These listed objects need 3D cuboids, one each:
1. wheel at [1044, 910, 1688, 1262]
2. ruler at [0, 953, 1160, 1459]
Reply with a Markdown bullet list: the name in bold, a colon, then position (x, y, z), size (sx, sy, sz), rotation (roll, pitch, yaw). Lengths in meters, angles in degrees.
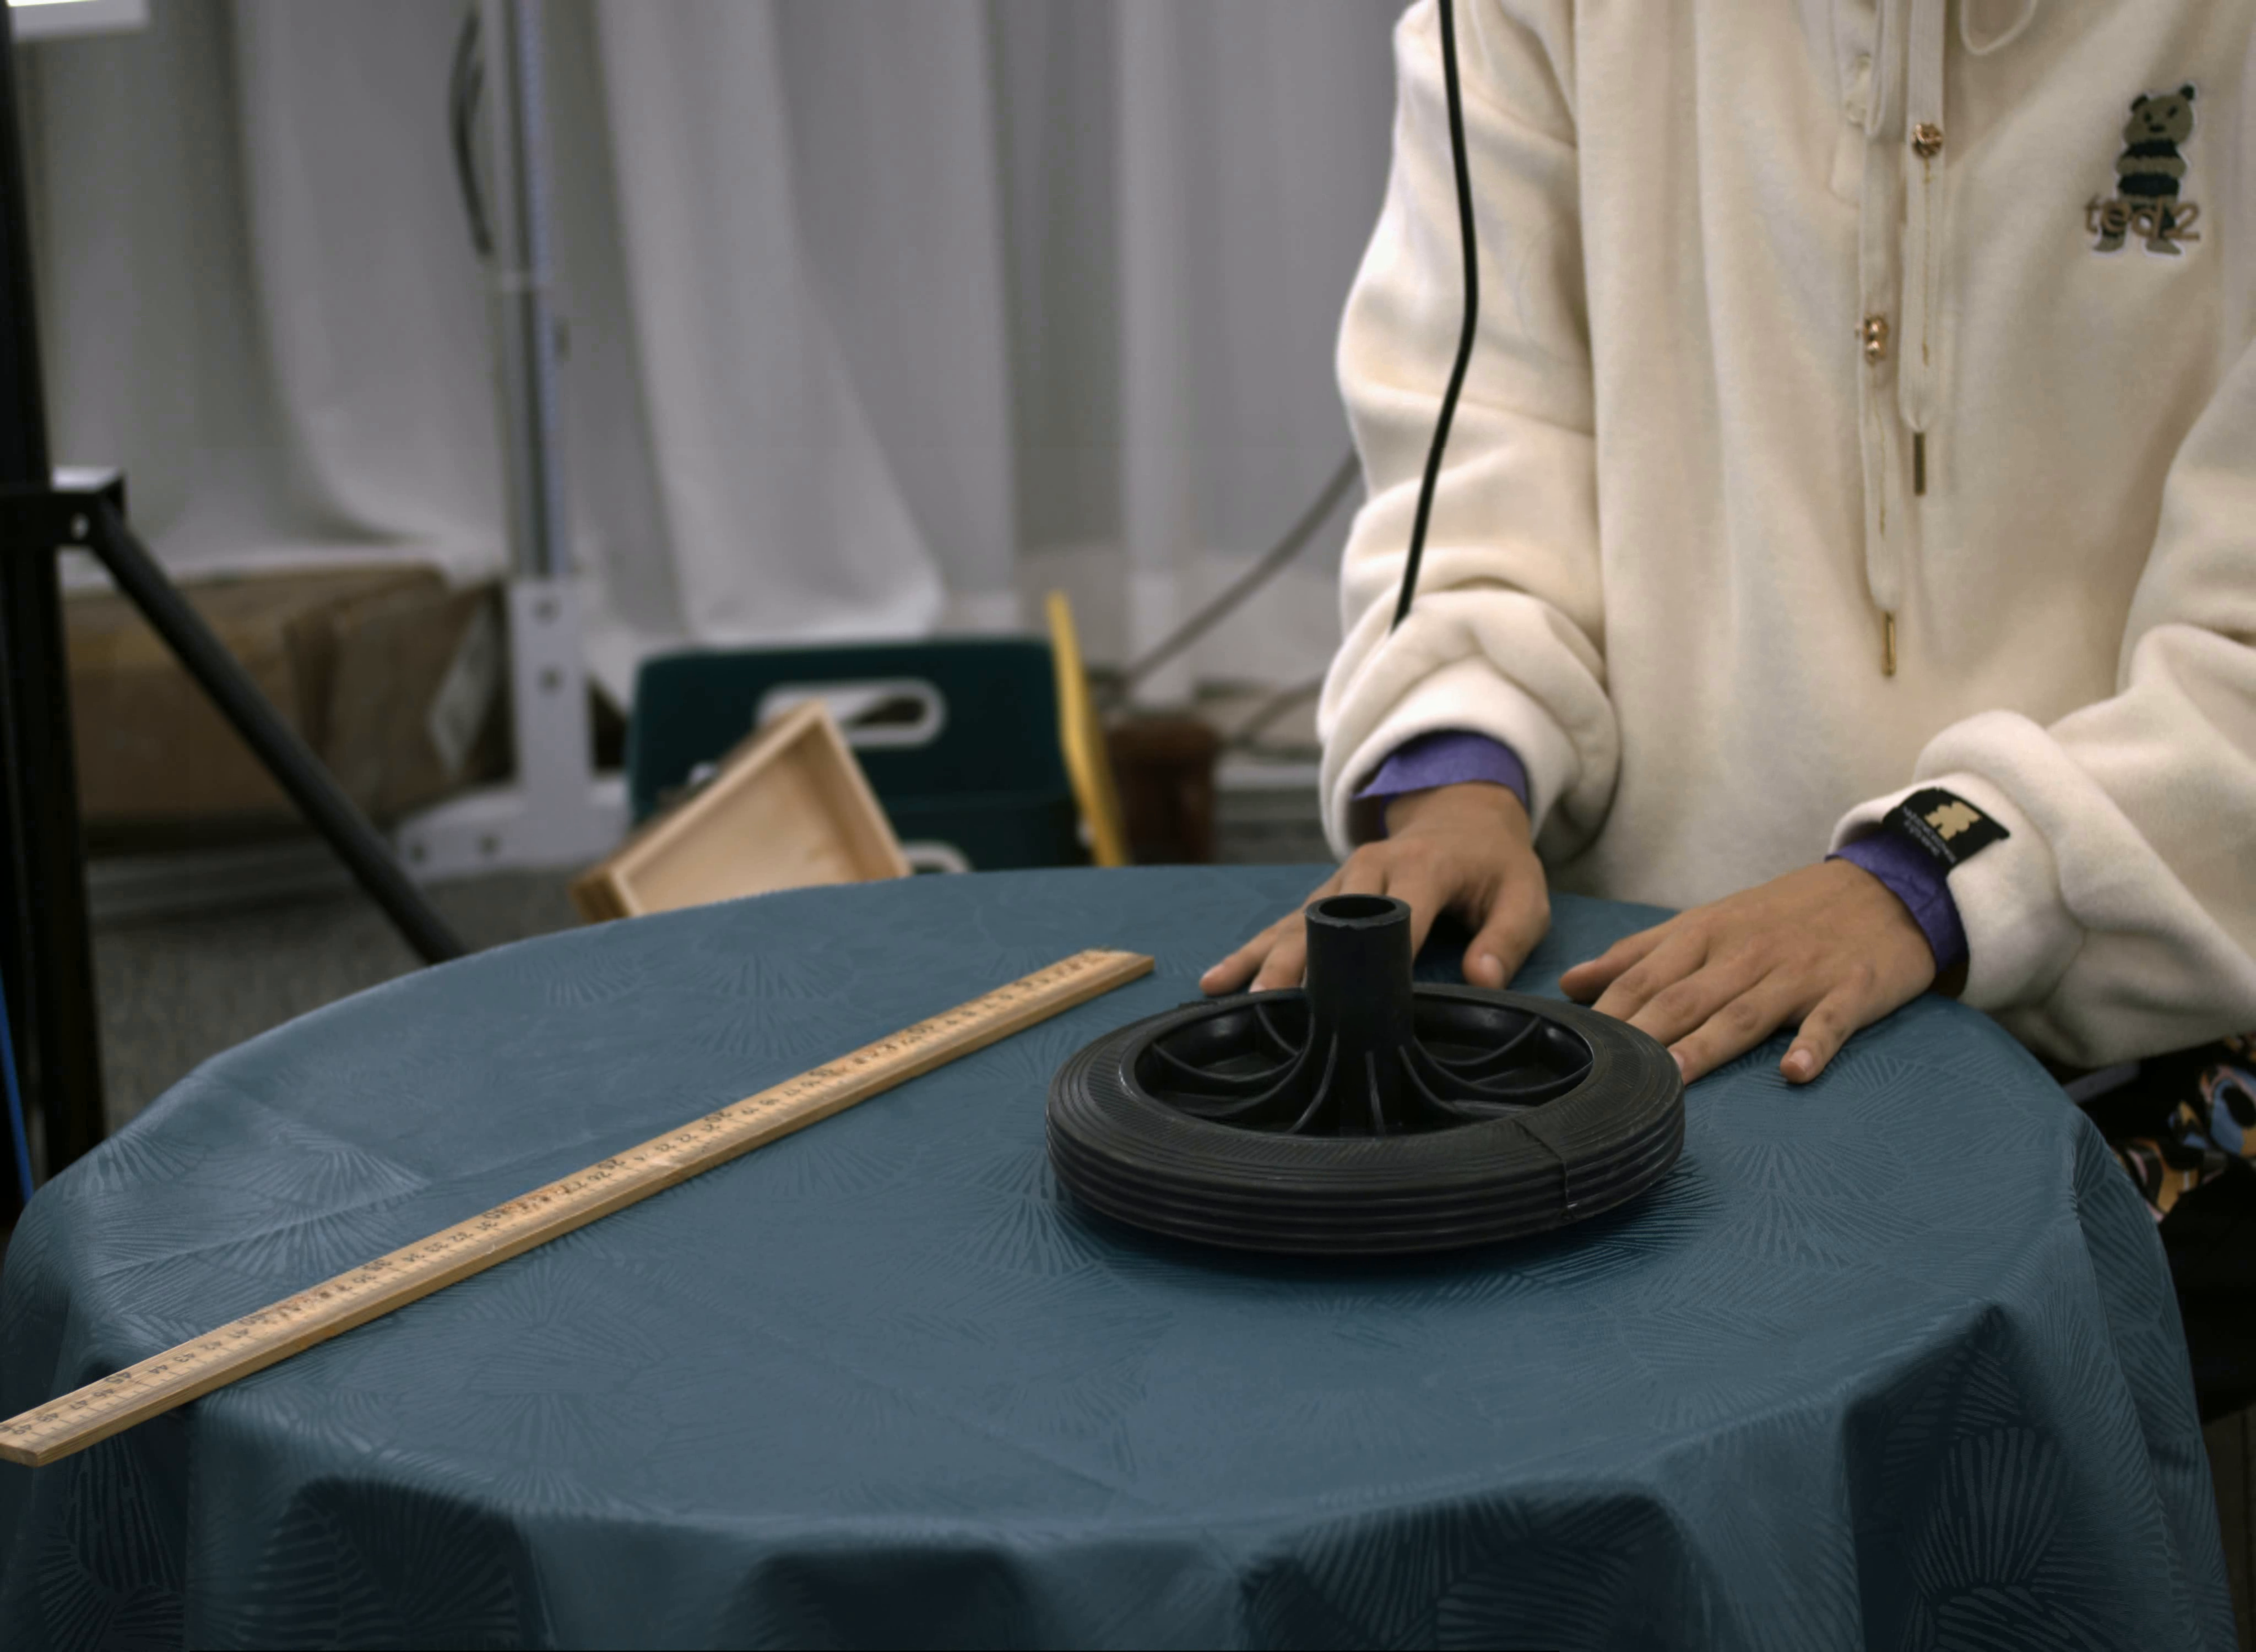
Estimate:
- **wheel**: position (0.069, 0.067, 1.552), size (0.189, 0.079, 0.188), rotation (-1, 16, 3)
- **ruler**: position (-0.147, 0.104, 1.587), size (0.027, 0.006, 0.490), rotation (8, 19, 37)
